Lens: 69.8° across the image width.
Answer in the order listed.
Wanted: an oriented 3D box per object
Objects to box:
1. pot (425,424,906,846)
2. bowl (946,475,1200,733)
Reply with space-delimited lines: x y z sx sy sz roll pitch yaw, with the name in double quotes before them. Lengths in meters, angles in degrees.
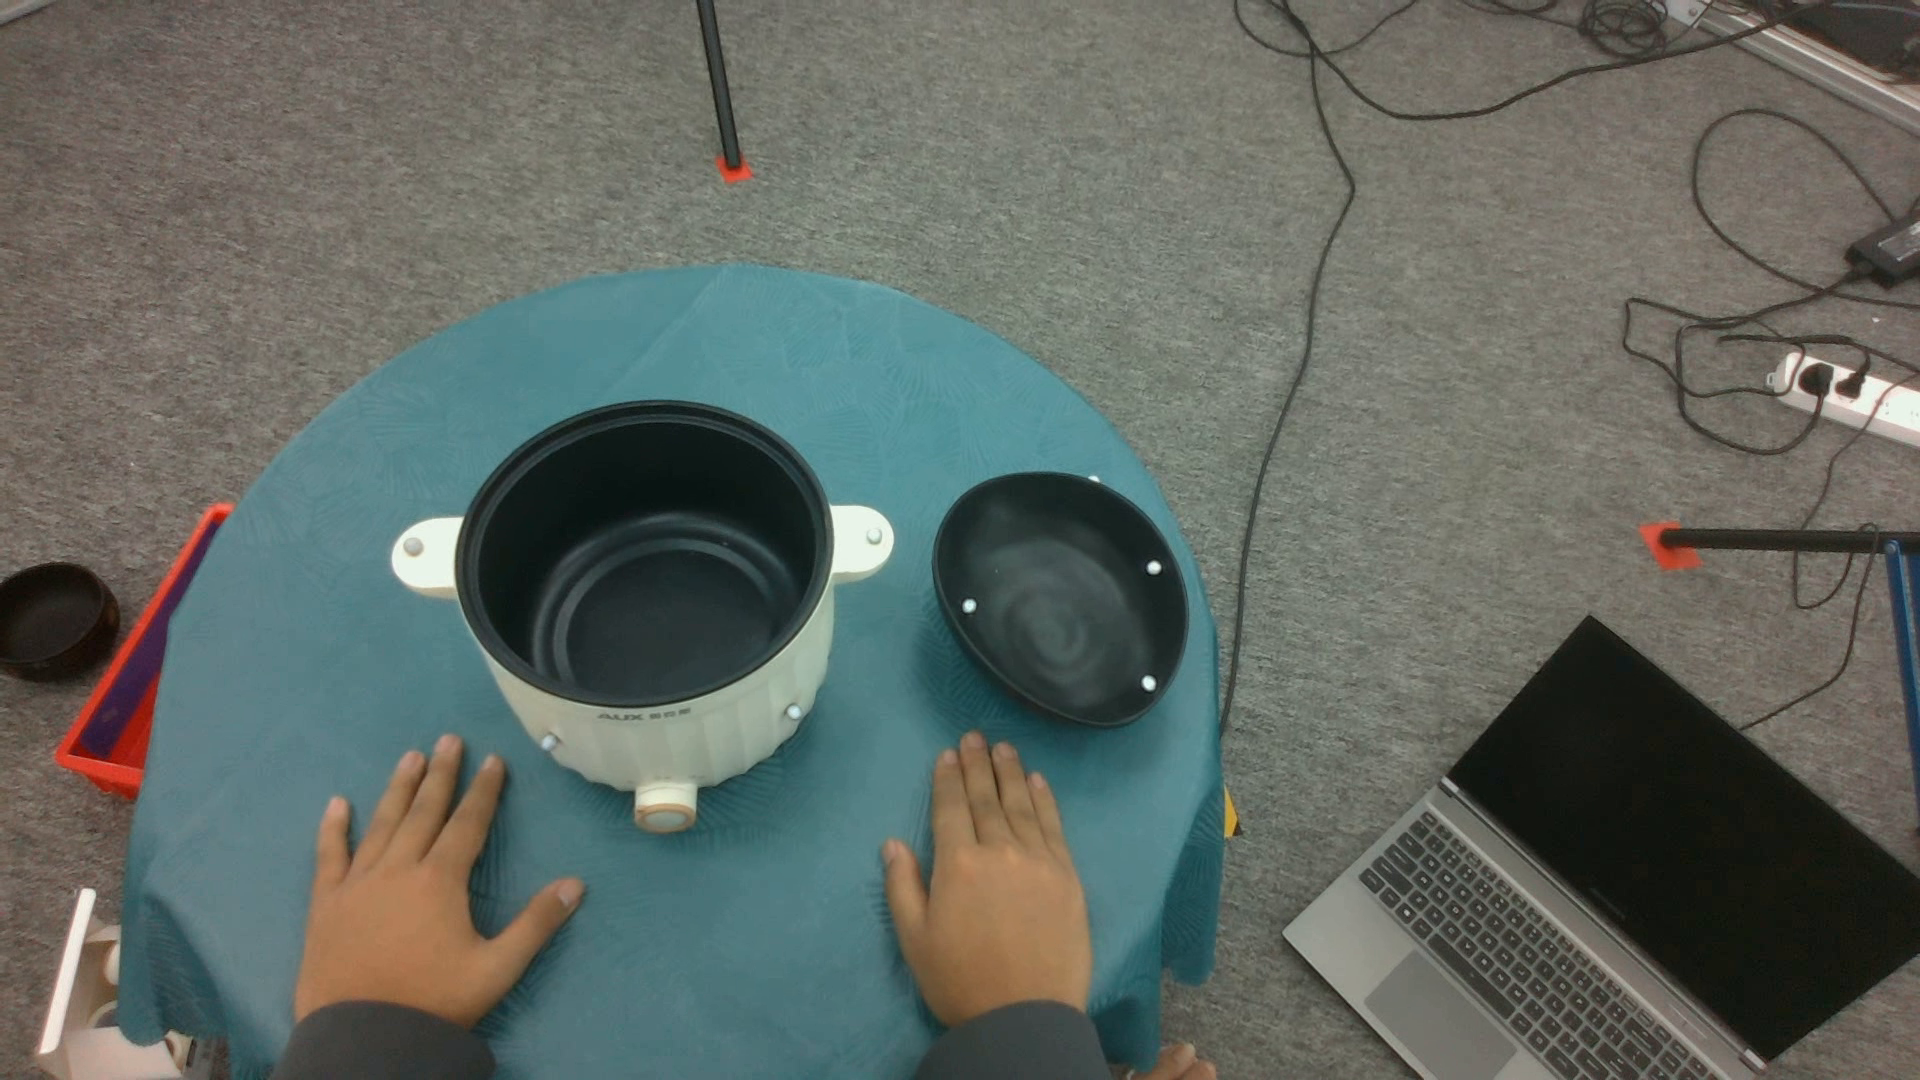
"pot" -0.146 0.053 0.742 0.240 0.142 0.191 -6 52 -4
"bowl" 0.064 0.043 0.801 0.138 0.066 0.170 -24 61 -17
